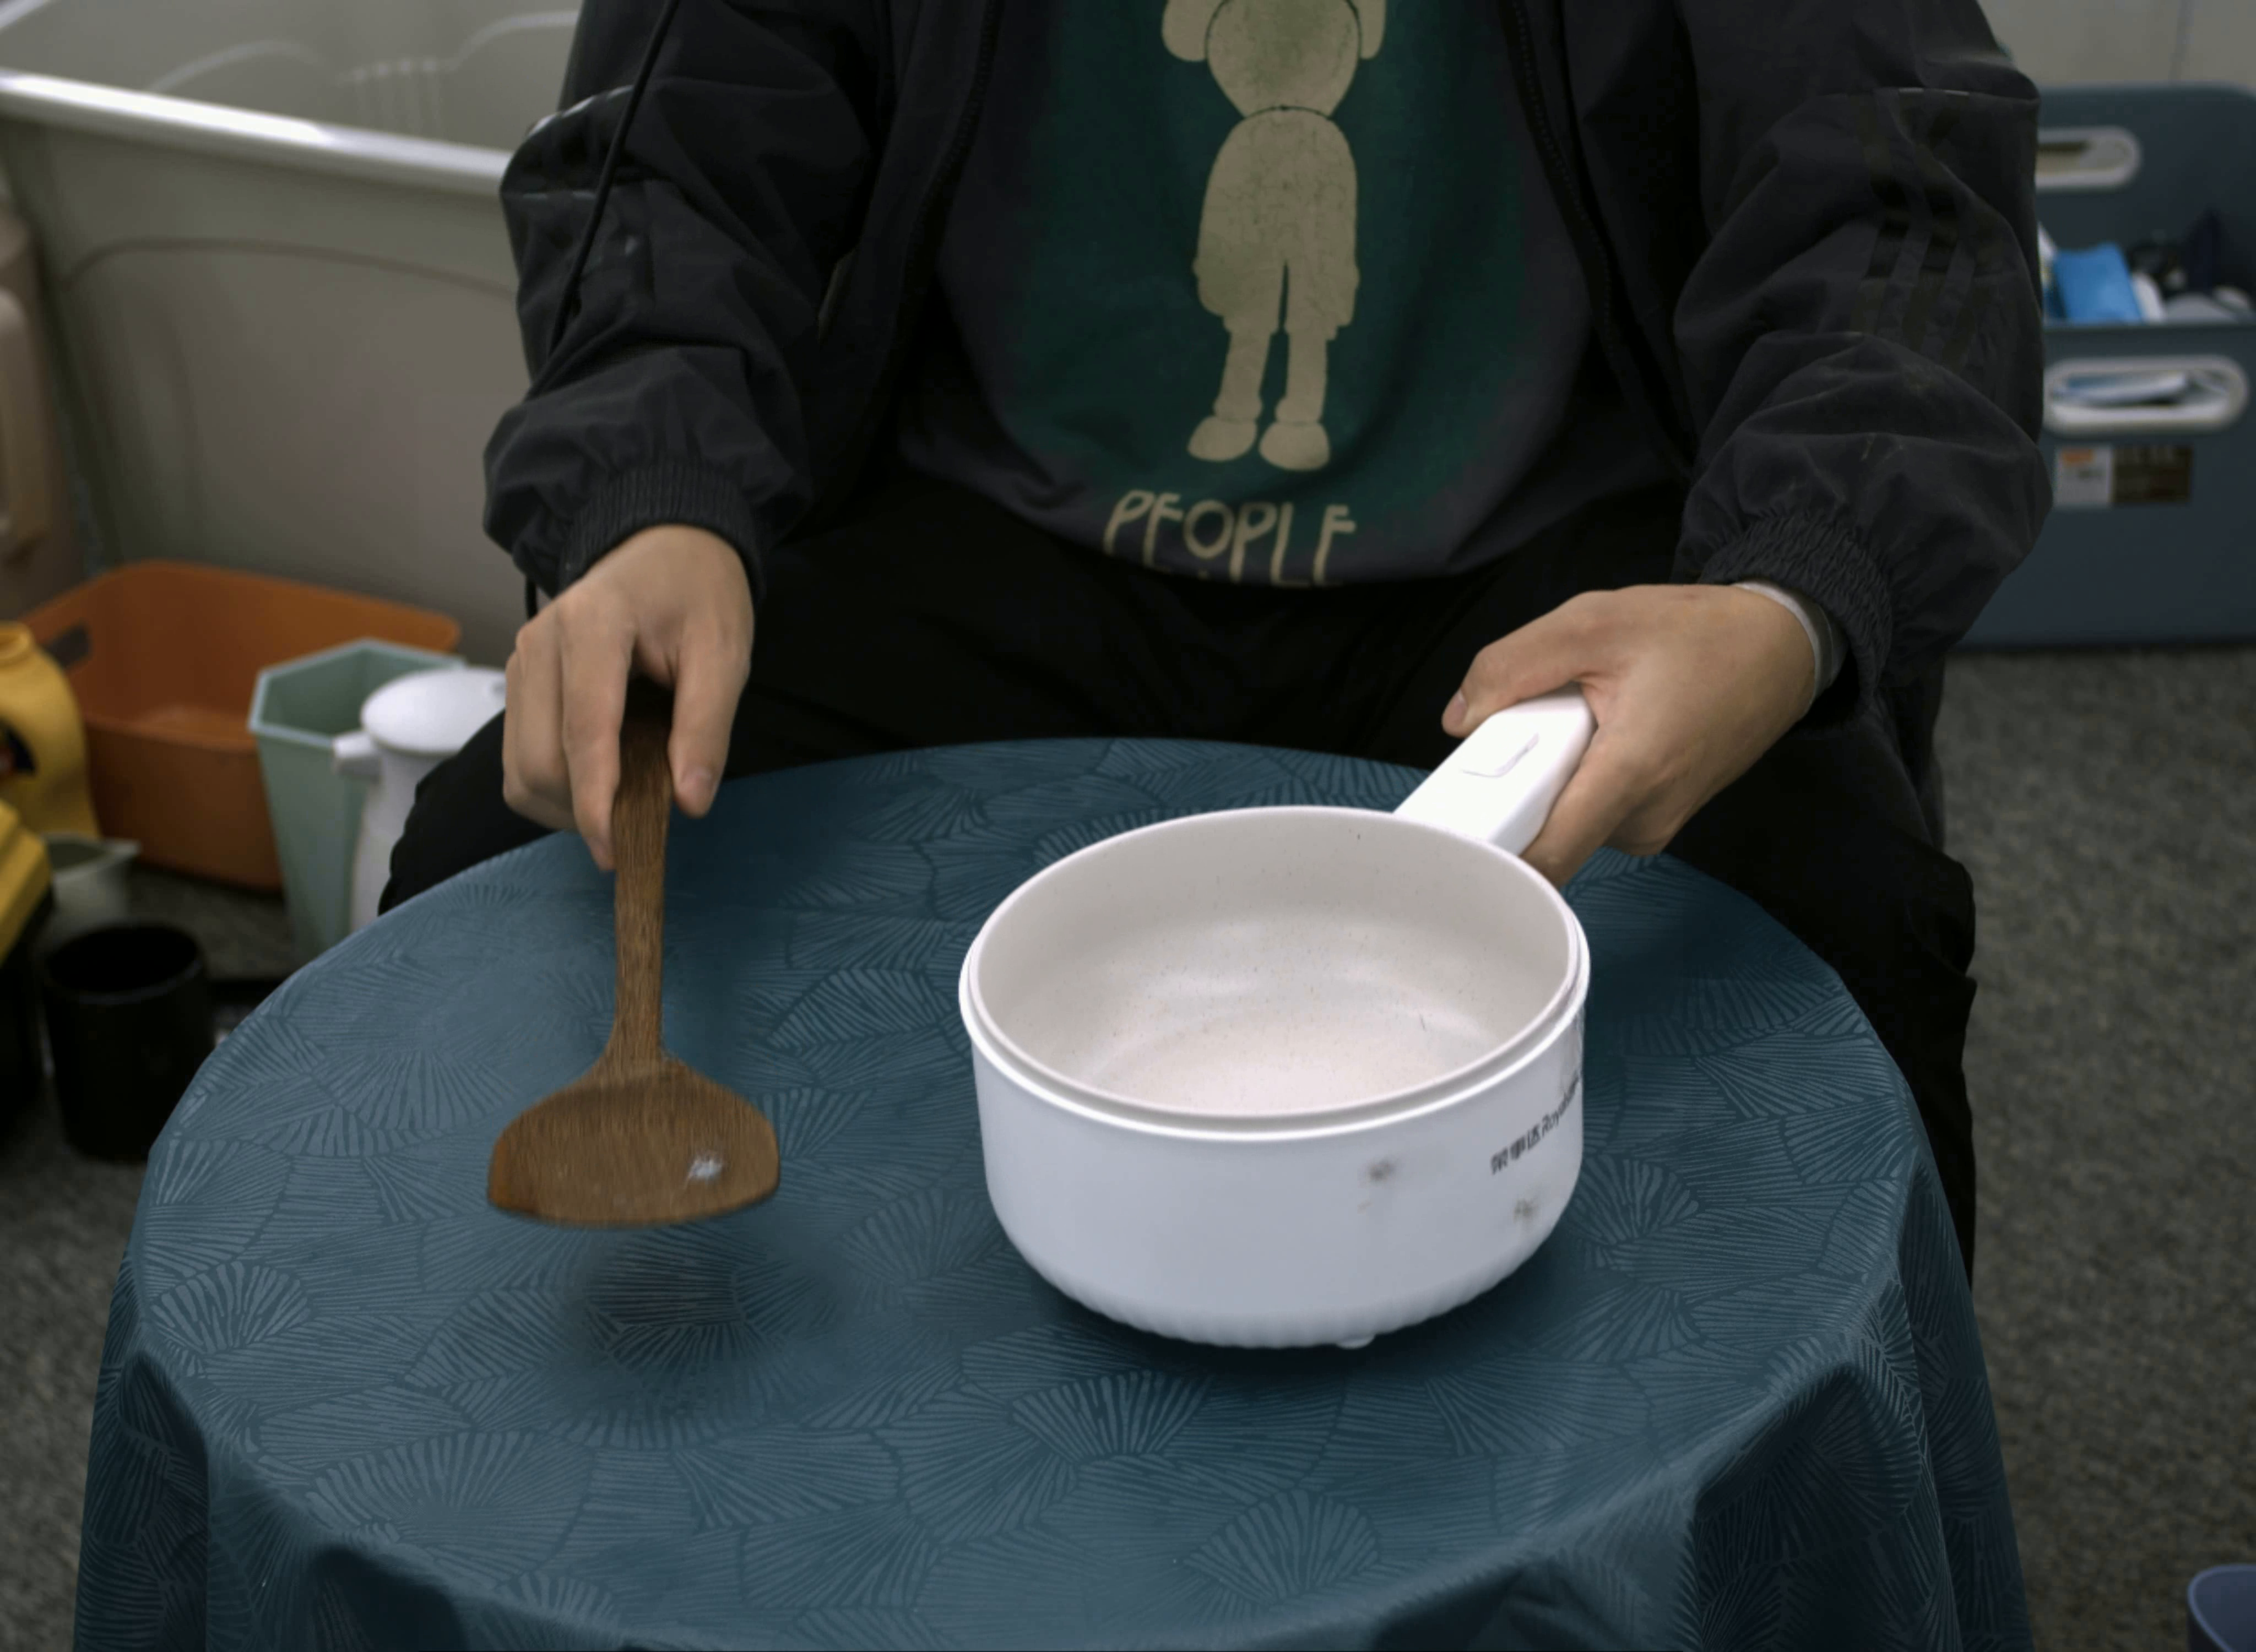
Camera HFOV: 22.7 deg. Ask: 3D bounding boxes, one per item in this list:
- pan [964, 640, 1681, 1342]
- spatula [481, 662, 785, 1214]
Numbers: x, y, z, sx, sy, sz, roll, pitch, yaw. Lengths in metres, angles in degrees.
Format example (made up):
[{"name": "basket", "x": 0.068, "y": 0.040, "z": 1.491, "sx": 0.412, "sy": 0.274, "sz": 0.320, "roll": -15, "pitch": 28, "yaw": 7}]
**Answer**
[{"name": "pan", "x": 0.088, "y": 0.051, "z": 1.861, "sx": 0.200, "sy": 0.101, "sz": 0.360, "roll": 11, "pitch": 30, "yaw": 28}, {"name": "spatula", "x": -0.167, "y": 0.030, "z": 1.919, "sx": 0.096, "sy": 0.015, "sz": 0.391, "roll": -2, "pitch": 28, "yaw": -3}]
